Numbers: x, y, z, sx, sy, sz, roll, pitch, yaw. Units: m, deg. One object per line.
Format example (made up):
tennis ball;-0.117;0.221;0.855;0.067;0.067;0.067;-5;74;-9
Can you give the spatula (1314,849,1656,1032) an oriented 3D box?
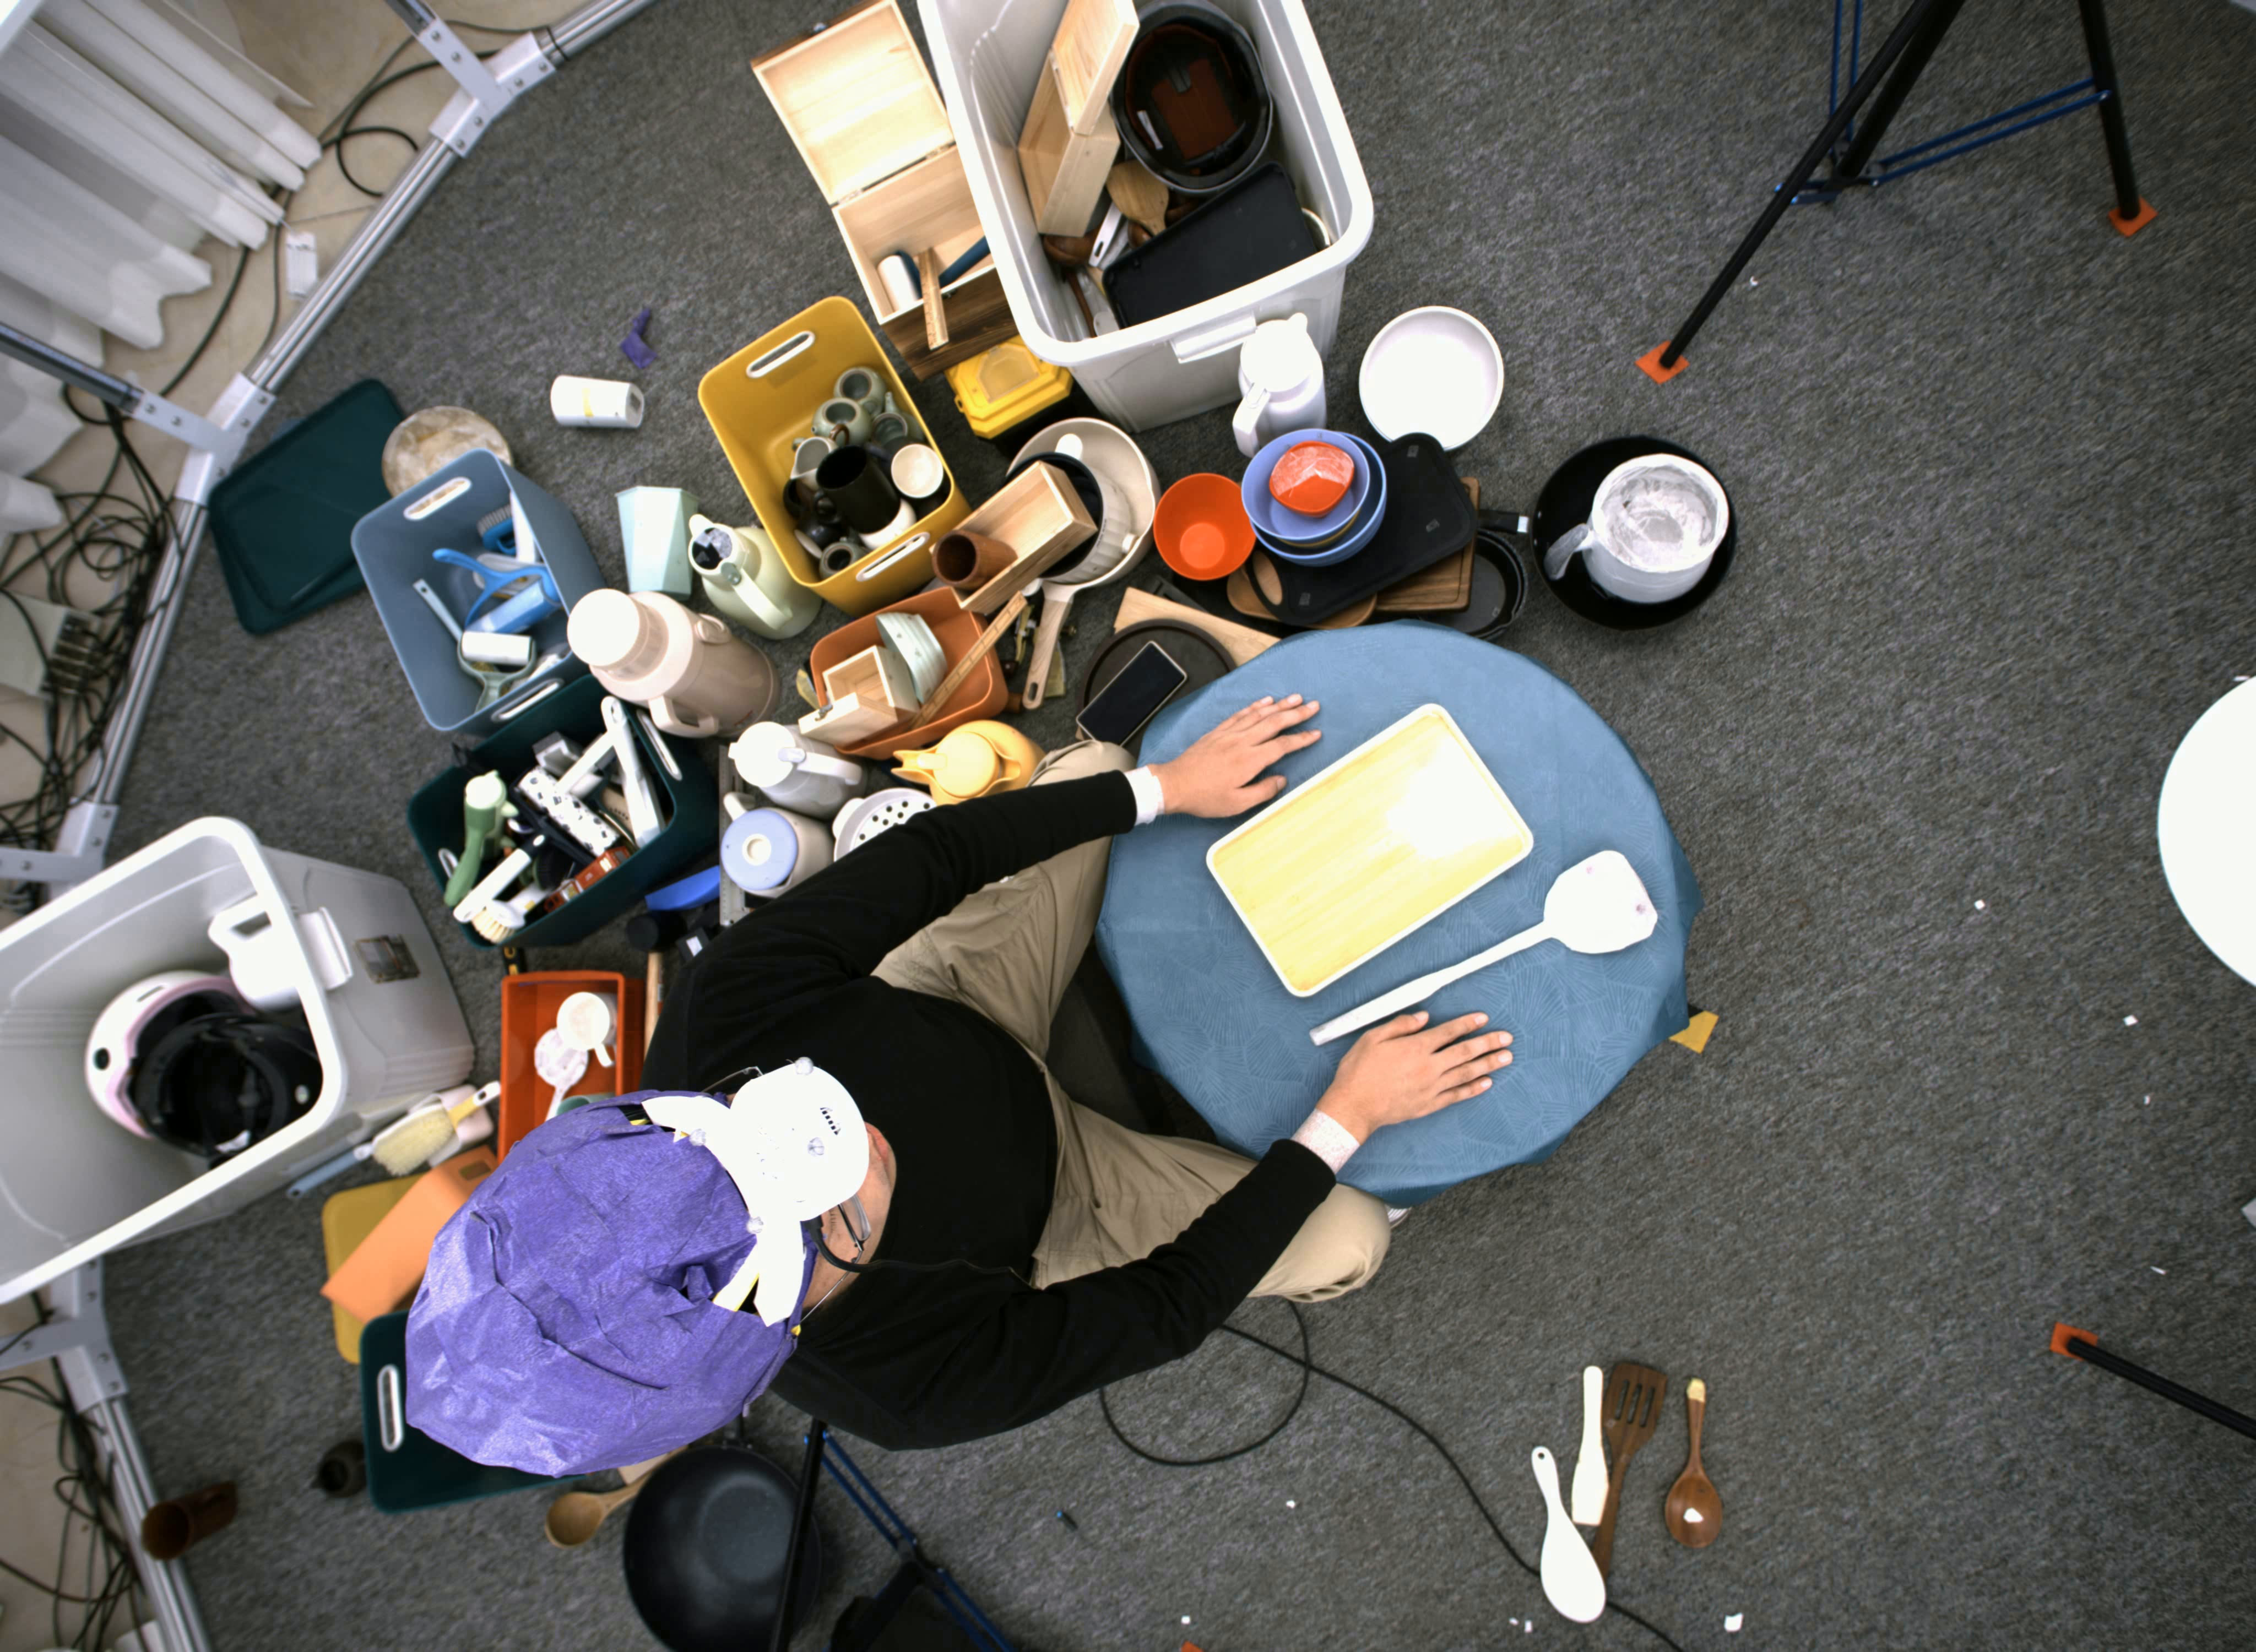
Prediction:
spatula;0.361;0.136;1.420;0.367;0.045;0.098;-26;83;8

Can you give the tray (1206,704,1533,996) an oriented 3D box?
tray;0.252;0.024;1.452;0.302;0.027;0.190;-33;82;7
